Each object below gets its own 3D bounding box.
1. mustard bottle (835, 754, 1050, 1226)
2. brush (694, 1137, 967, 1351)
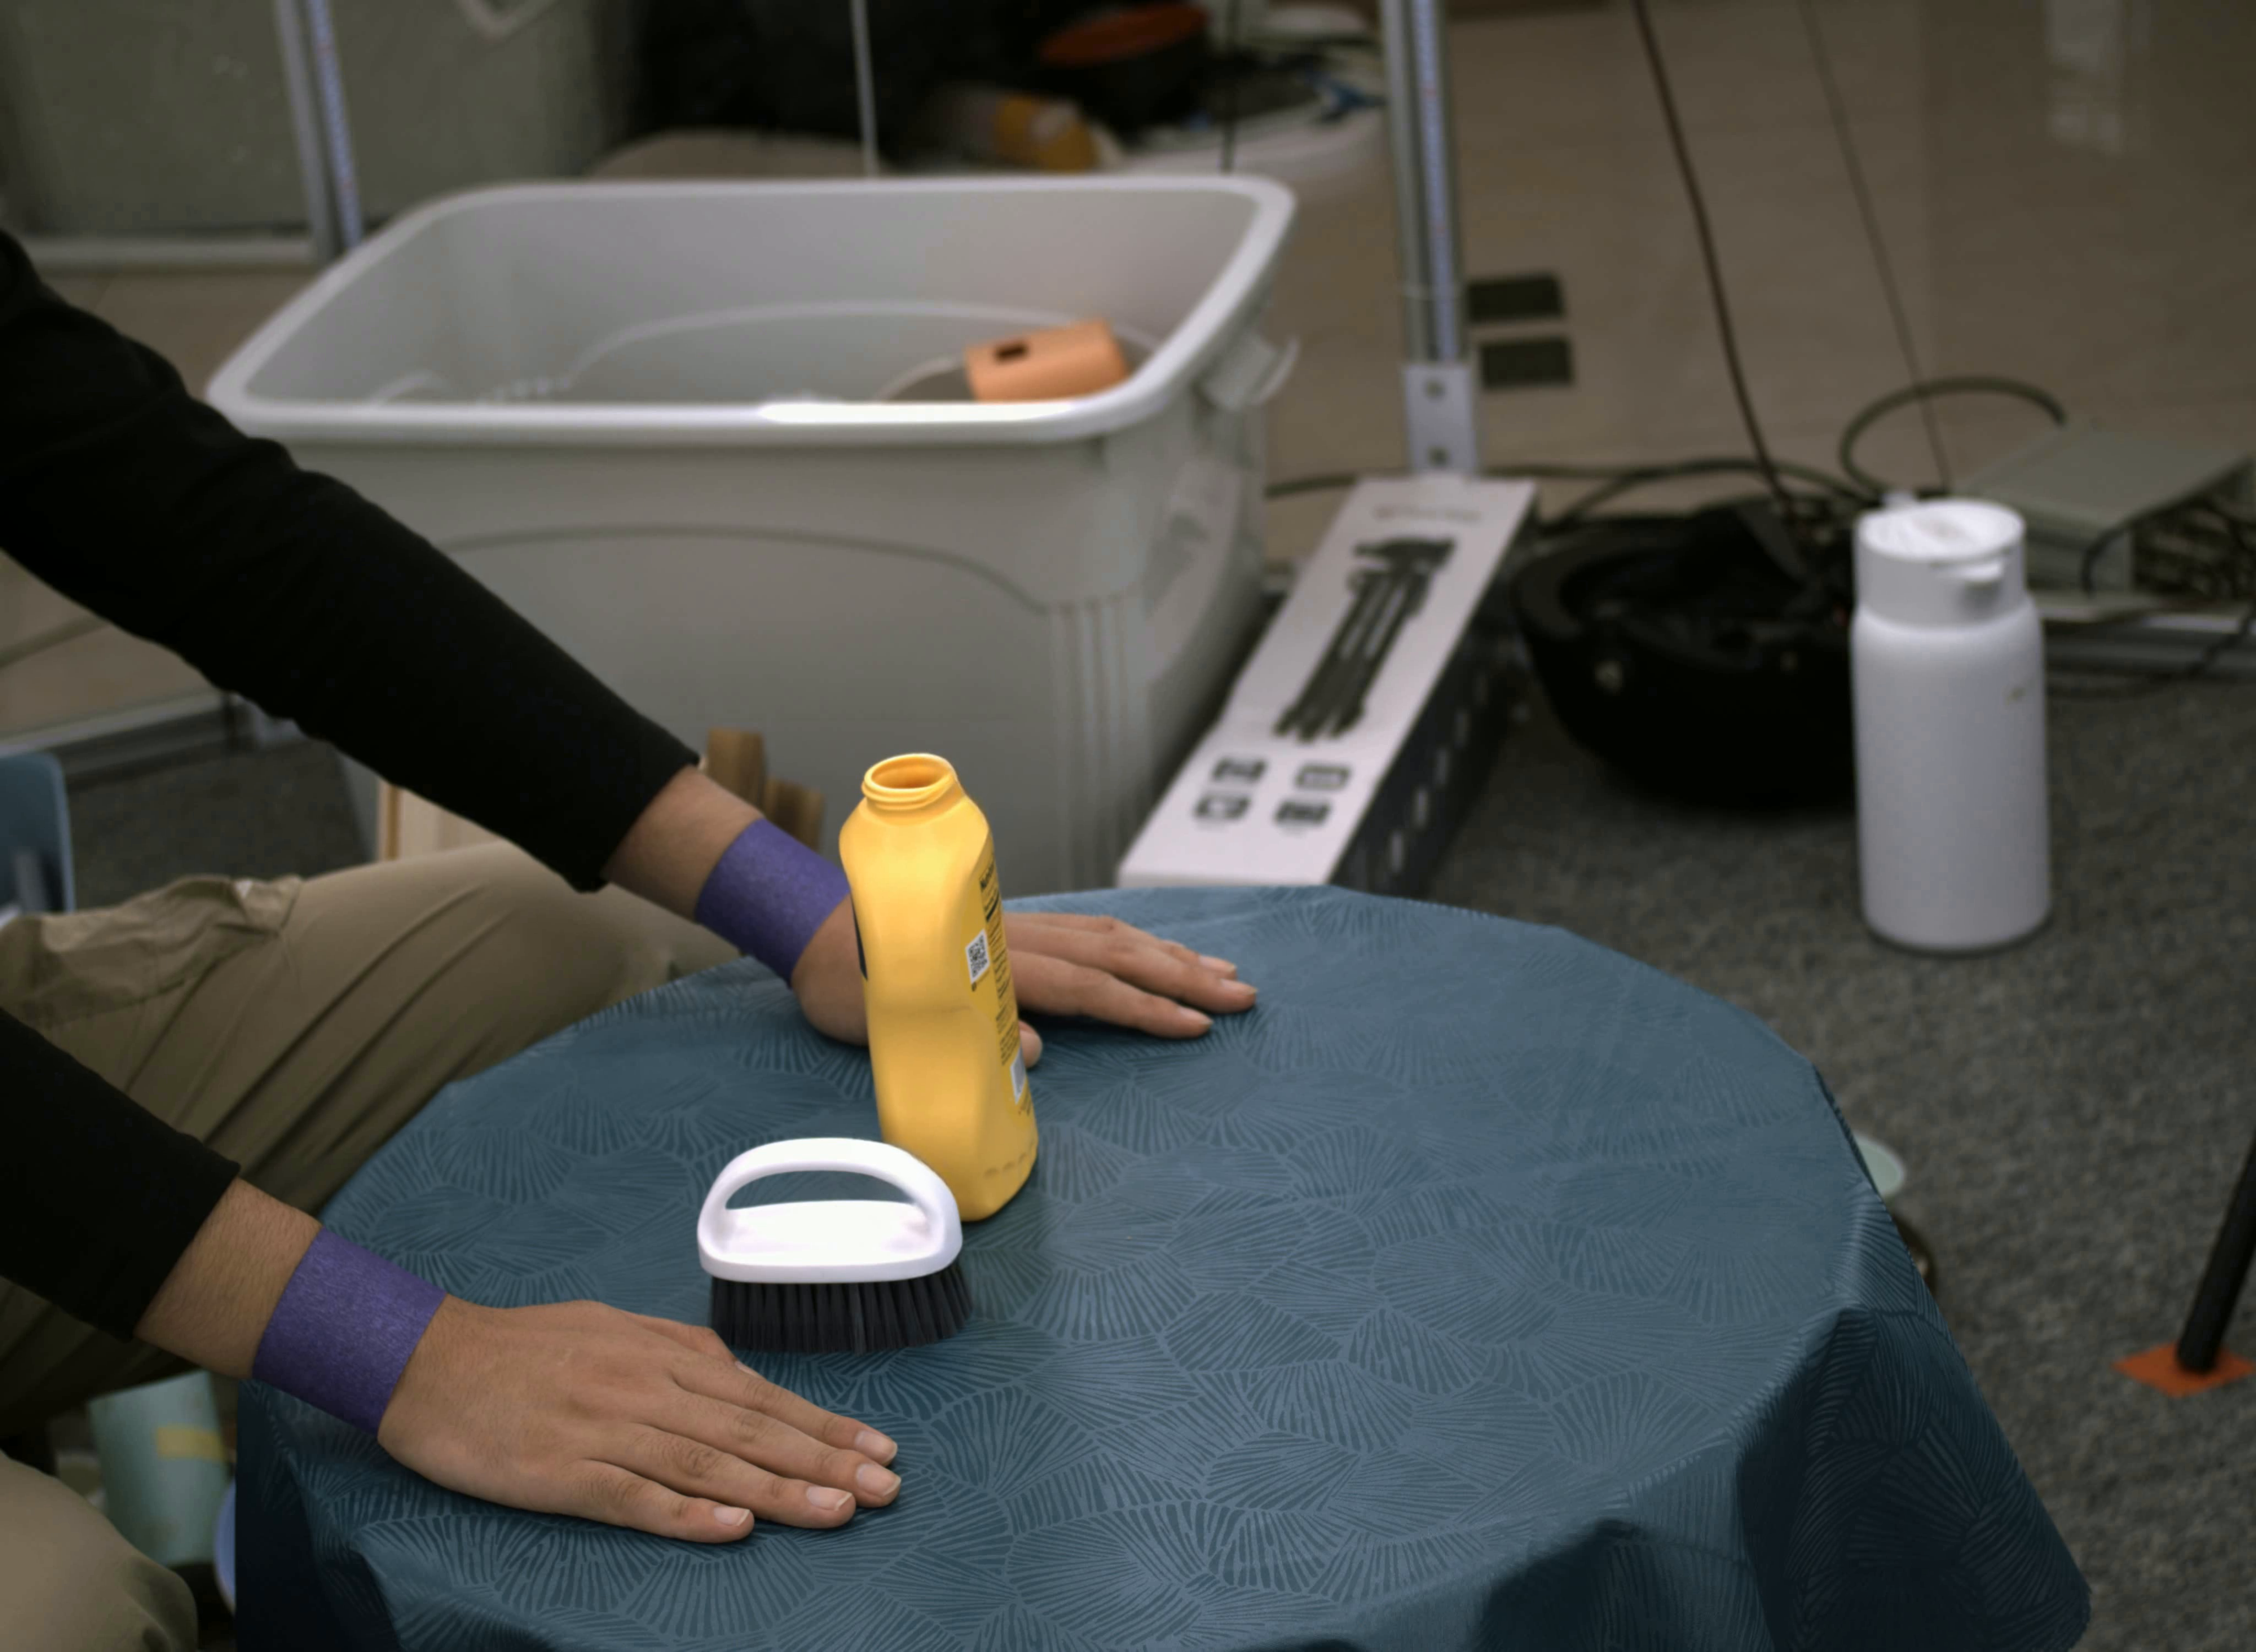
[{"bbox_3d":[-0.071,0.058,2.135,0.059,0.175,0.097,-6,27,8],"label":"mustard bottle"},{"bbox_3d":[-0.110,0.148,2.065,0.099,0.073,0.049,0,25,11],"label":"brush"}]
